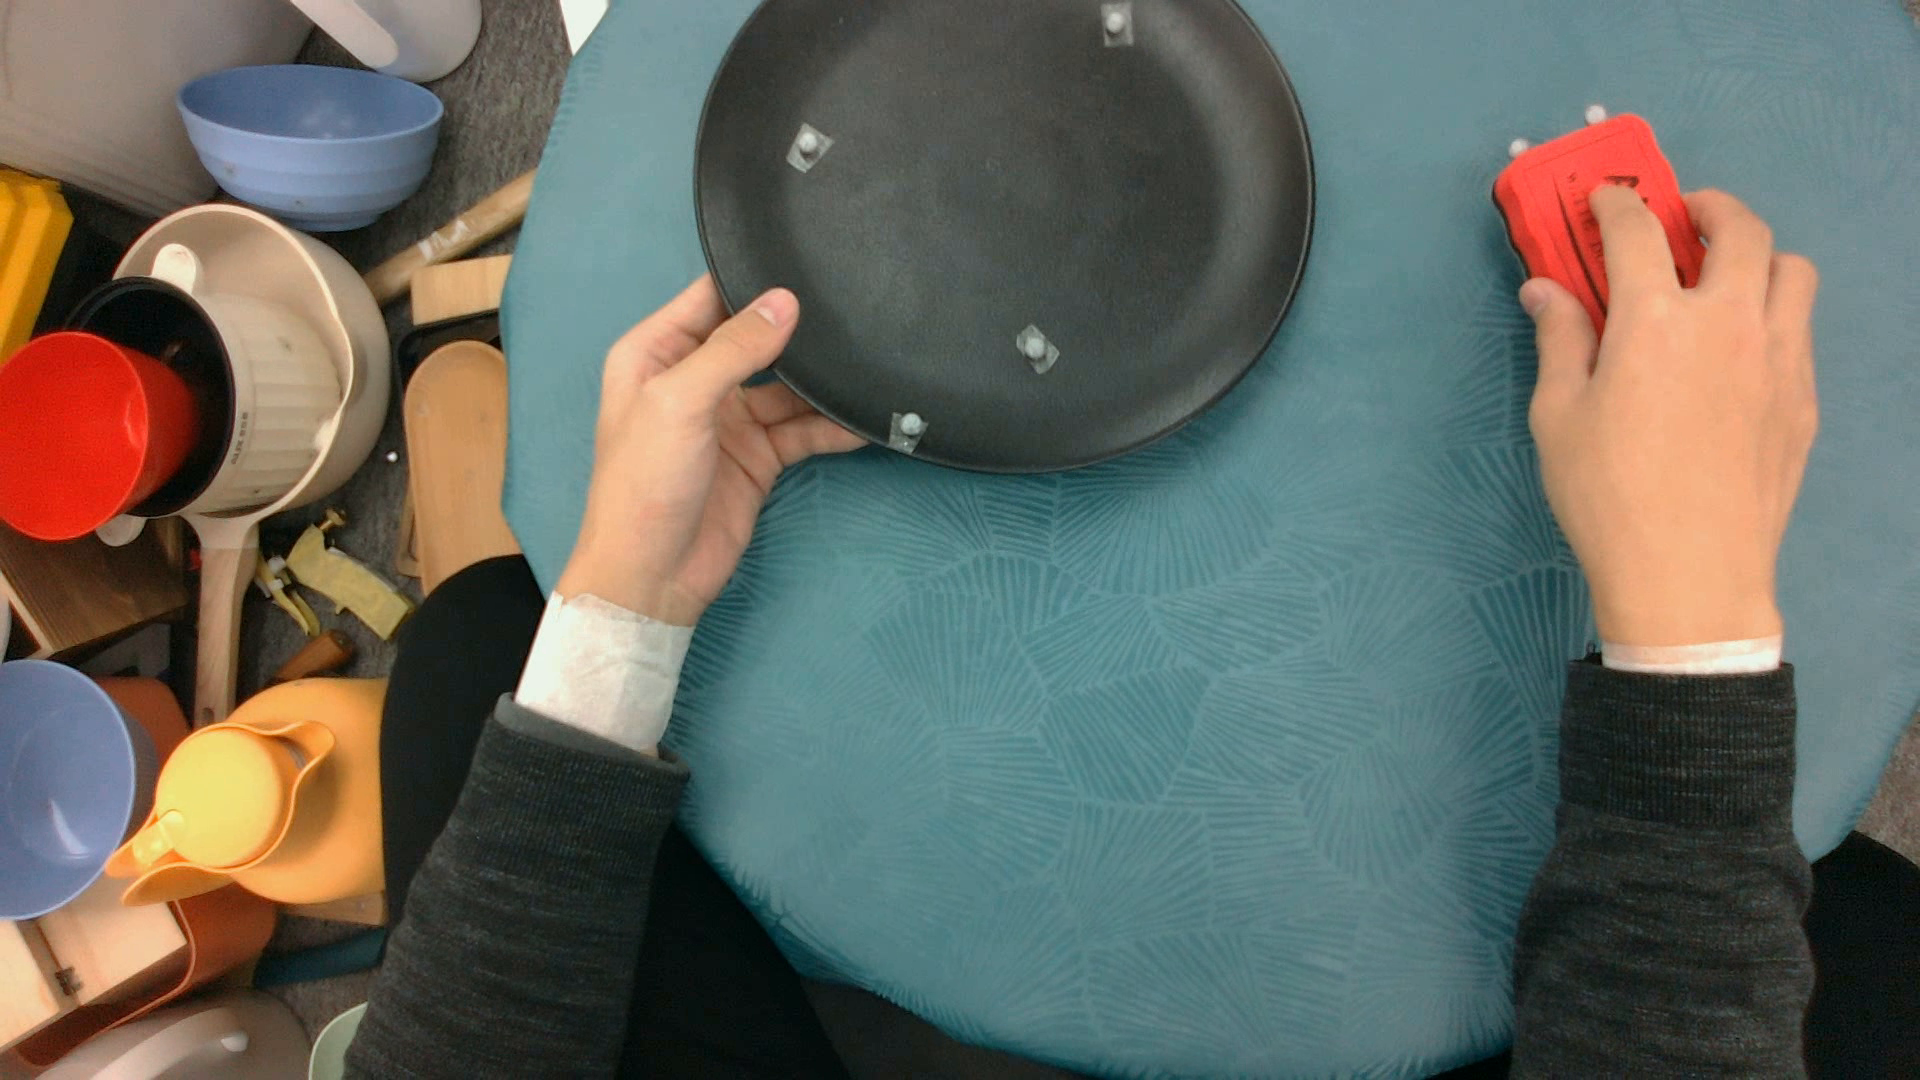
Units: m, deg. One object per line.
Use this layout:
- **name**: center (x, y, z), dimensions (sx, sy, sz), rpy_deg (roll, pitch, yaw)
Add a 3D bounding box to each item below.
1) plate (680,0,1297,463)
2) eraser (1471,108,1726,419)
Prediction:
- **plate**: center (0.012, -0.146, 0.550), dimensions (0.244, 0.023, 0.245), rpy_deg (1, 78, -4)
- **eraser**: center (0.241, -0.104, 0.522), dimensions (0.059, 0.023, 0.108), rpy_deg (-21, 84, 1)
